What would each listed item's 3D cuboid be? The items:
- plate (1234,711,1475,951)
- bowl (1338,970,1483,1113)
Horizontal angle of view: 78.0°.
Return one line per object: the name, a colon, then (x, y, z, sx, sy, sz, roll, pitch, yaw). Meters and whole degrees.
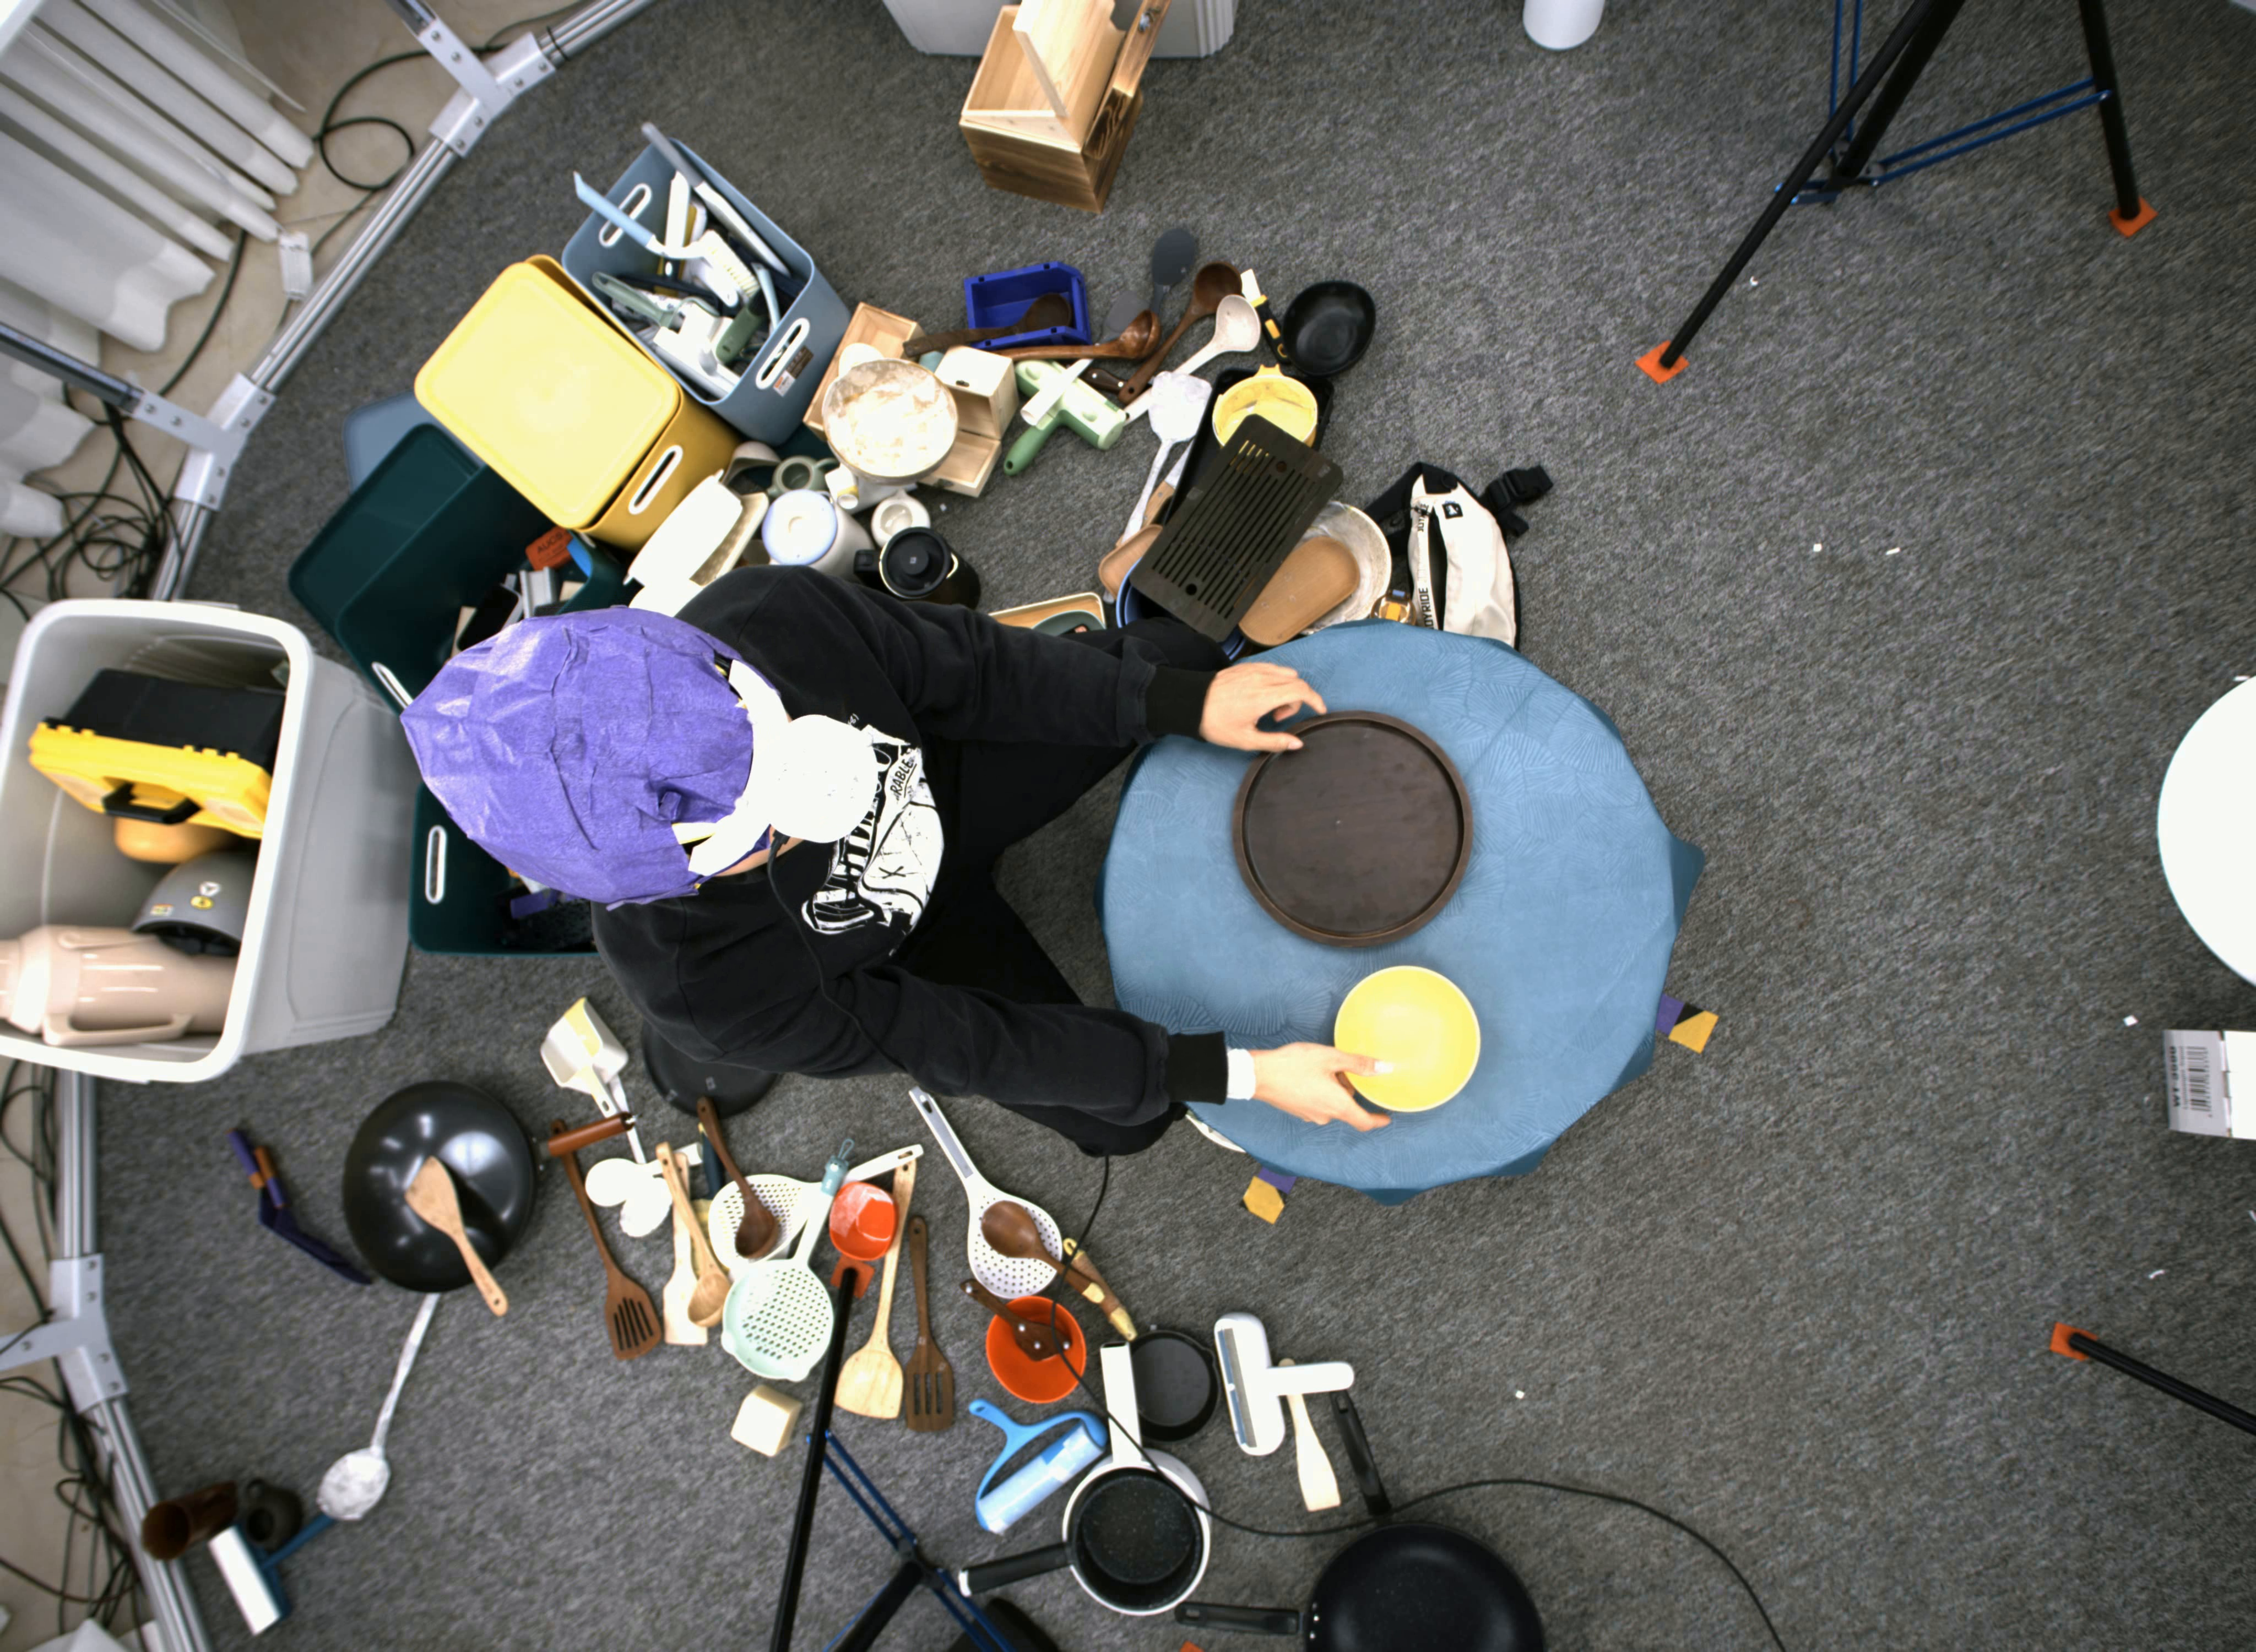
plate: (0.239, 0.005, 1.464, 0.256, 0.029, 0.254, -1, 88, 11)
bowl: (0.291, 0.220, 1.423, 0.146, 0.060, 0.144, -1, 85, 13)
